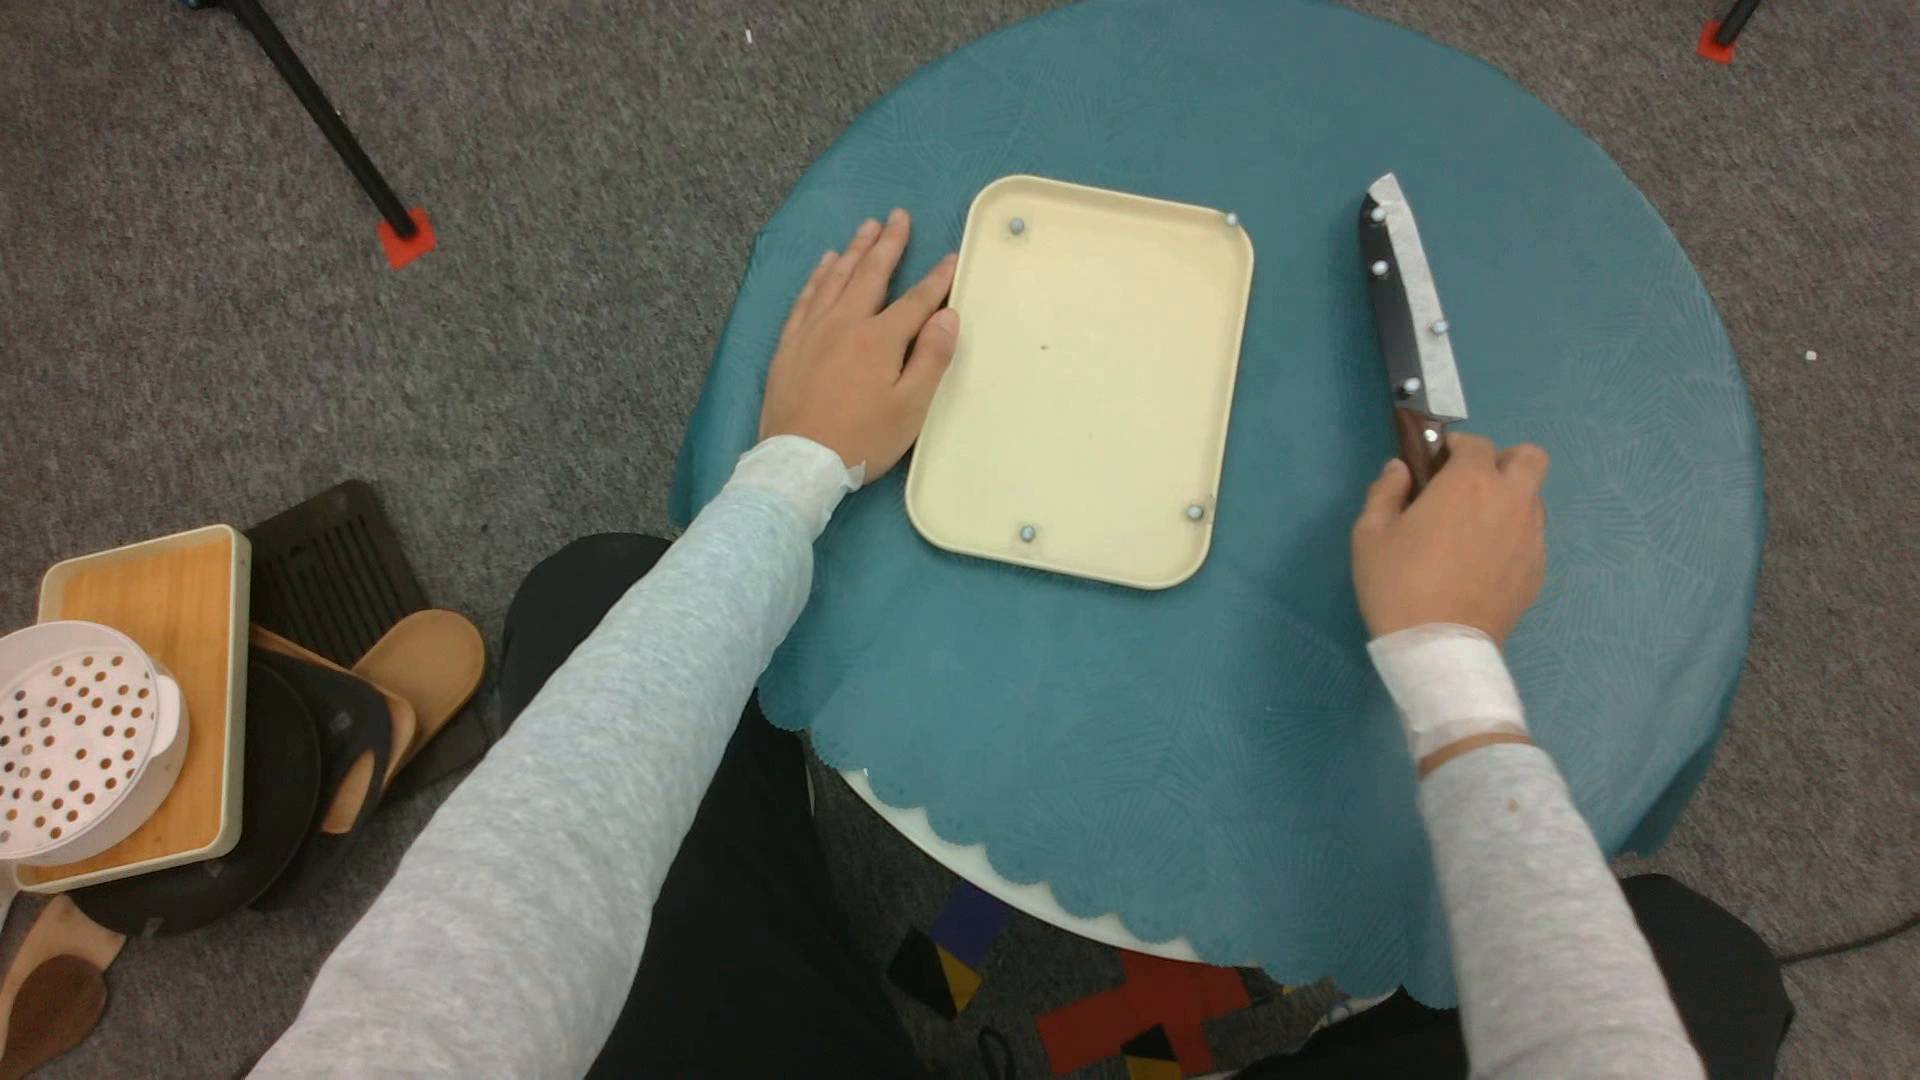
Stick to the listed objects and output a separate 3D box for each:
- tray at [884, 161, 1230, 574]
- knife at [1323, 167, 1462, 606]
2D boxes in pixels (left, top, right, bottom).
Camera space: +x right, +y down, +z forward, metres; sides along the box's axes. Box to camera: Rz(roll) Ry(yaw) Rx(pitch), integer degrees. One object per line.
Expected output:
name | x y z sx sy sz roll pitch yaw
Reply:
tray | 0.058 -0.102 0.785 0.171 0.017 0.240 11 72 2
knife | 0.240 -0.097 0.770 0.050 0.020 0.290 6 63 -15
